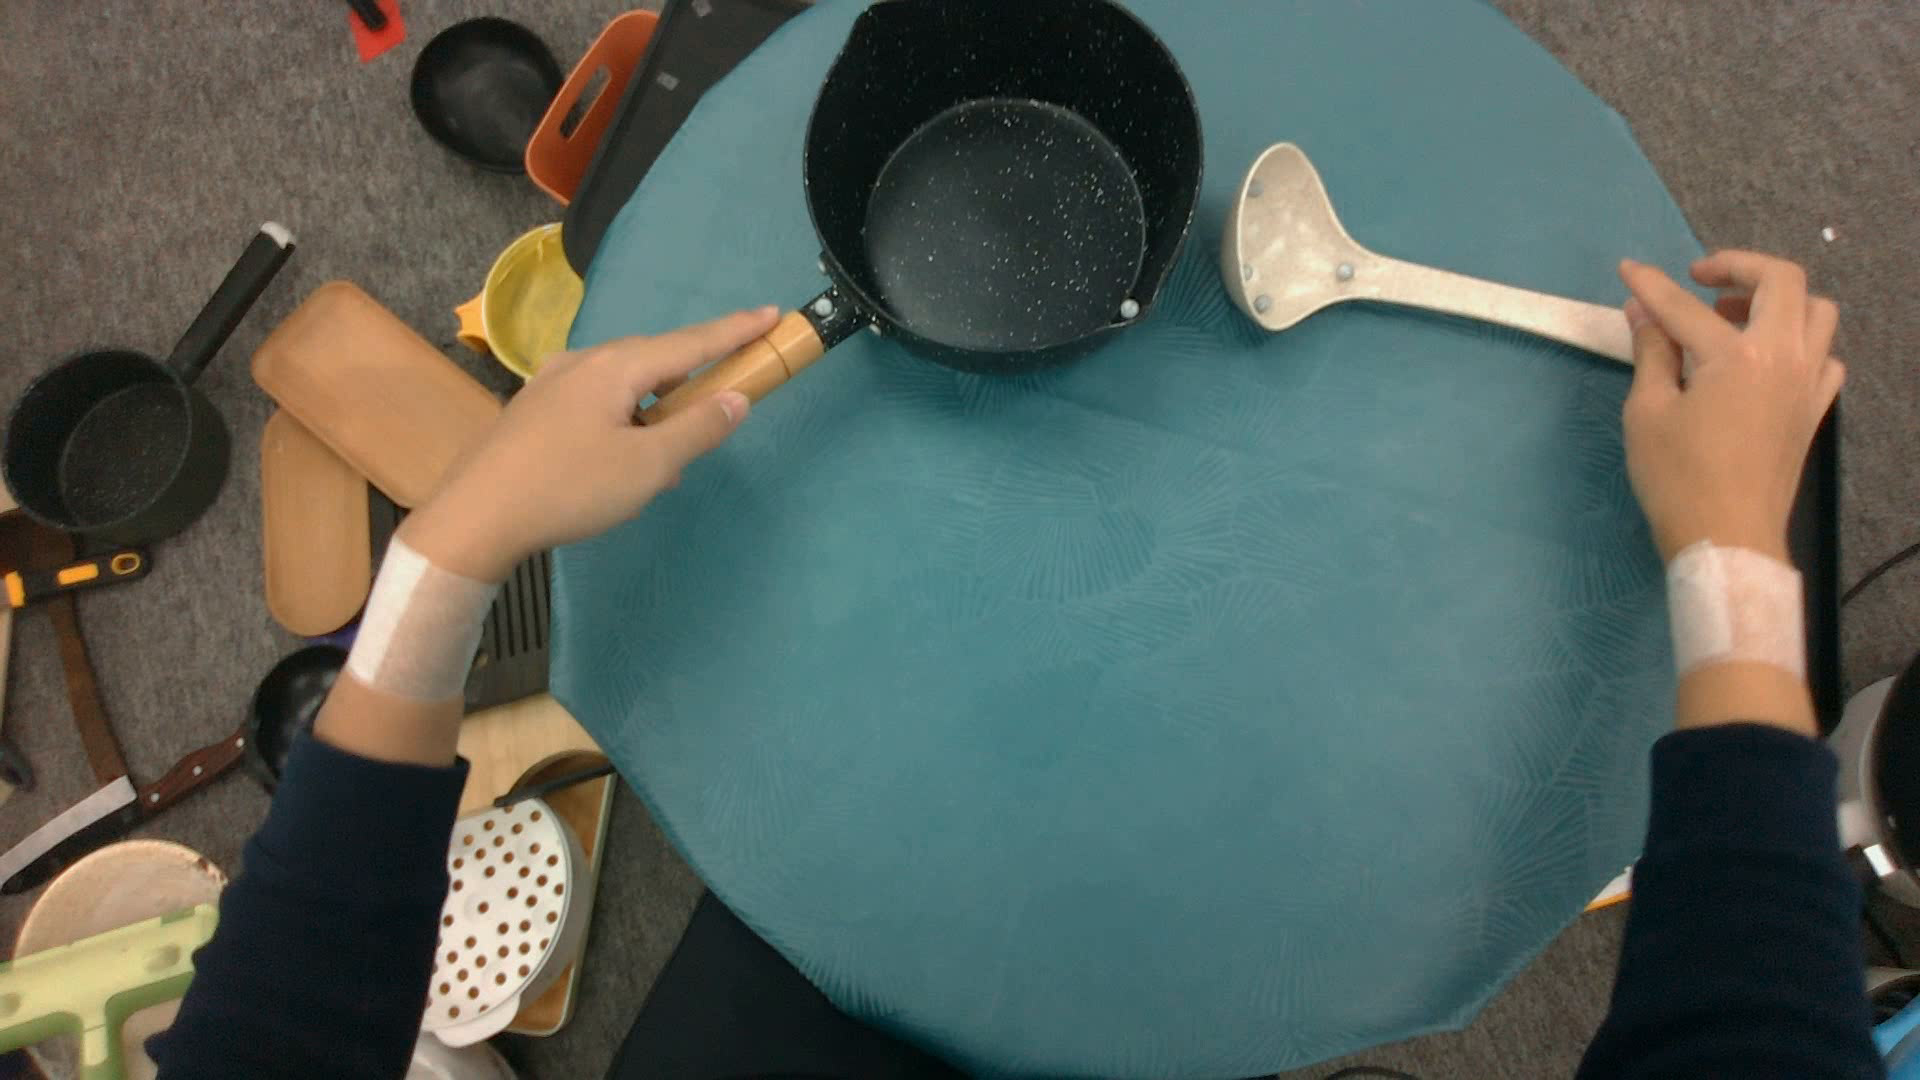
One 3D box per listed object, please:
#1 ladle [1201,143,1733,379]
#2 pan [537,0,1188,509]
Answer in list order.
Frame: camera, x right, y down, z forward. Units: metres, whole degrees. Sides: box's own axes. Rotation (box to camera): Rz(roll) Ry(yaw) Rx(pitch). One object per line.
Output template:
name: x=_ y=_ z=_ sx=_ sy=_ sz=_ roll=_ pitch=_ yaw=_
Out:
ladle: x=0.253 y=-0.126 z=0.668 sx=0.275 sy=0.069 sz=0.089 roll=13 pitch=72 yaw=4
pan: x=-0.046 y=-0.119 z=0.655 sx=0.343 sy=0.108 sz=0.207 roll=-41 pitch=81 yaw=-8
